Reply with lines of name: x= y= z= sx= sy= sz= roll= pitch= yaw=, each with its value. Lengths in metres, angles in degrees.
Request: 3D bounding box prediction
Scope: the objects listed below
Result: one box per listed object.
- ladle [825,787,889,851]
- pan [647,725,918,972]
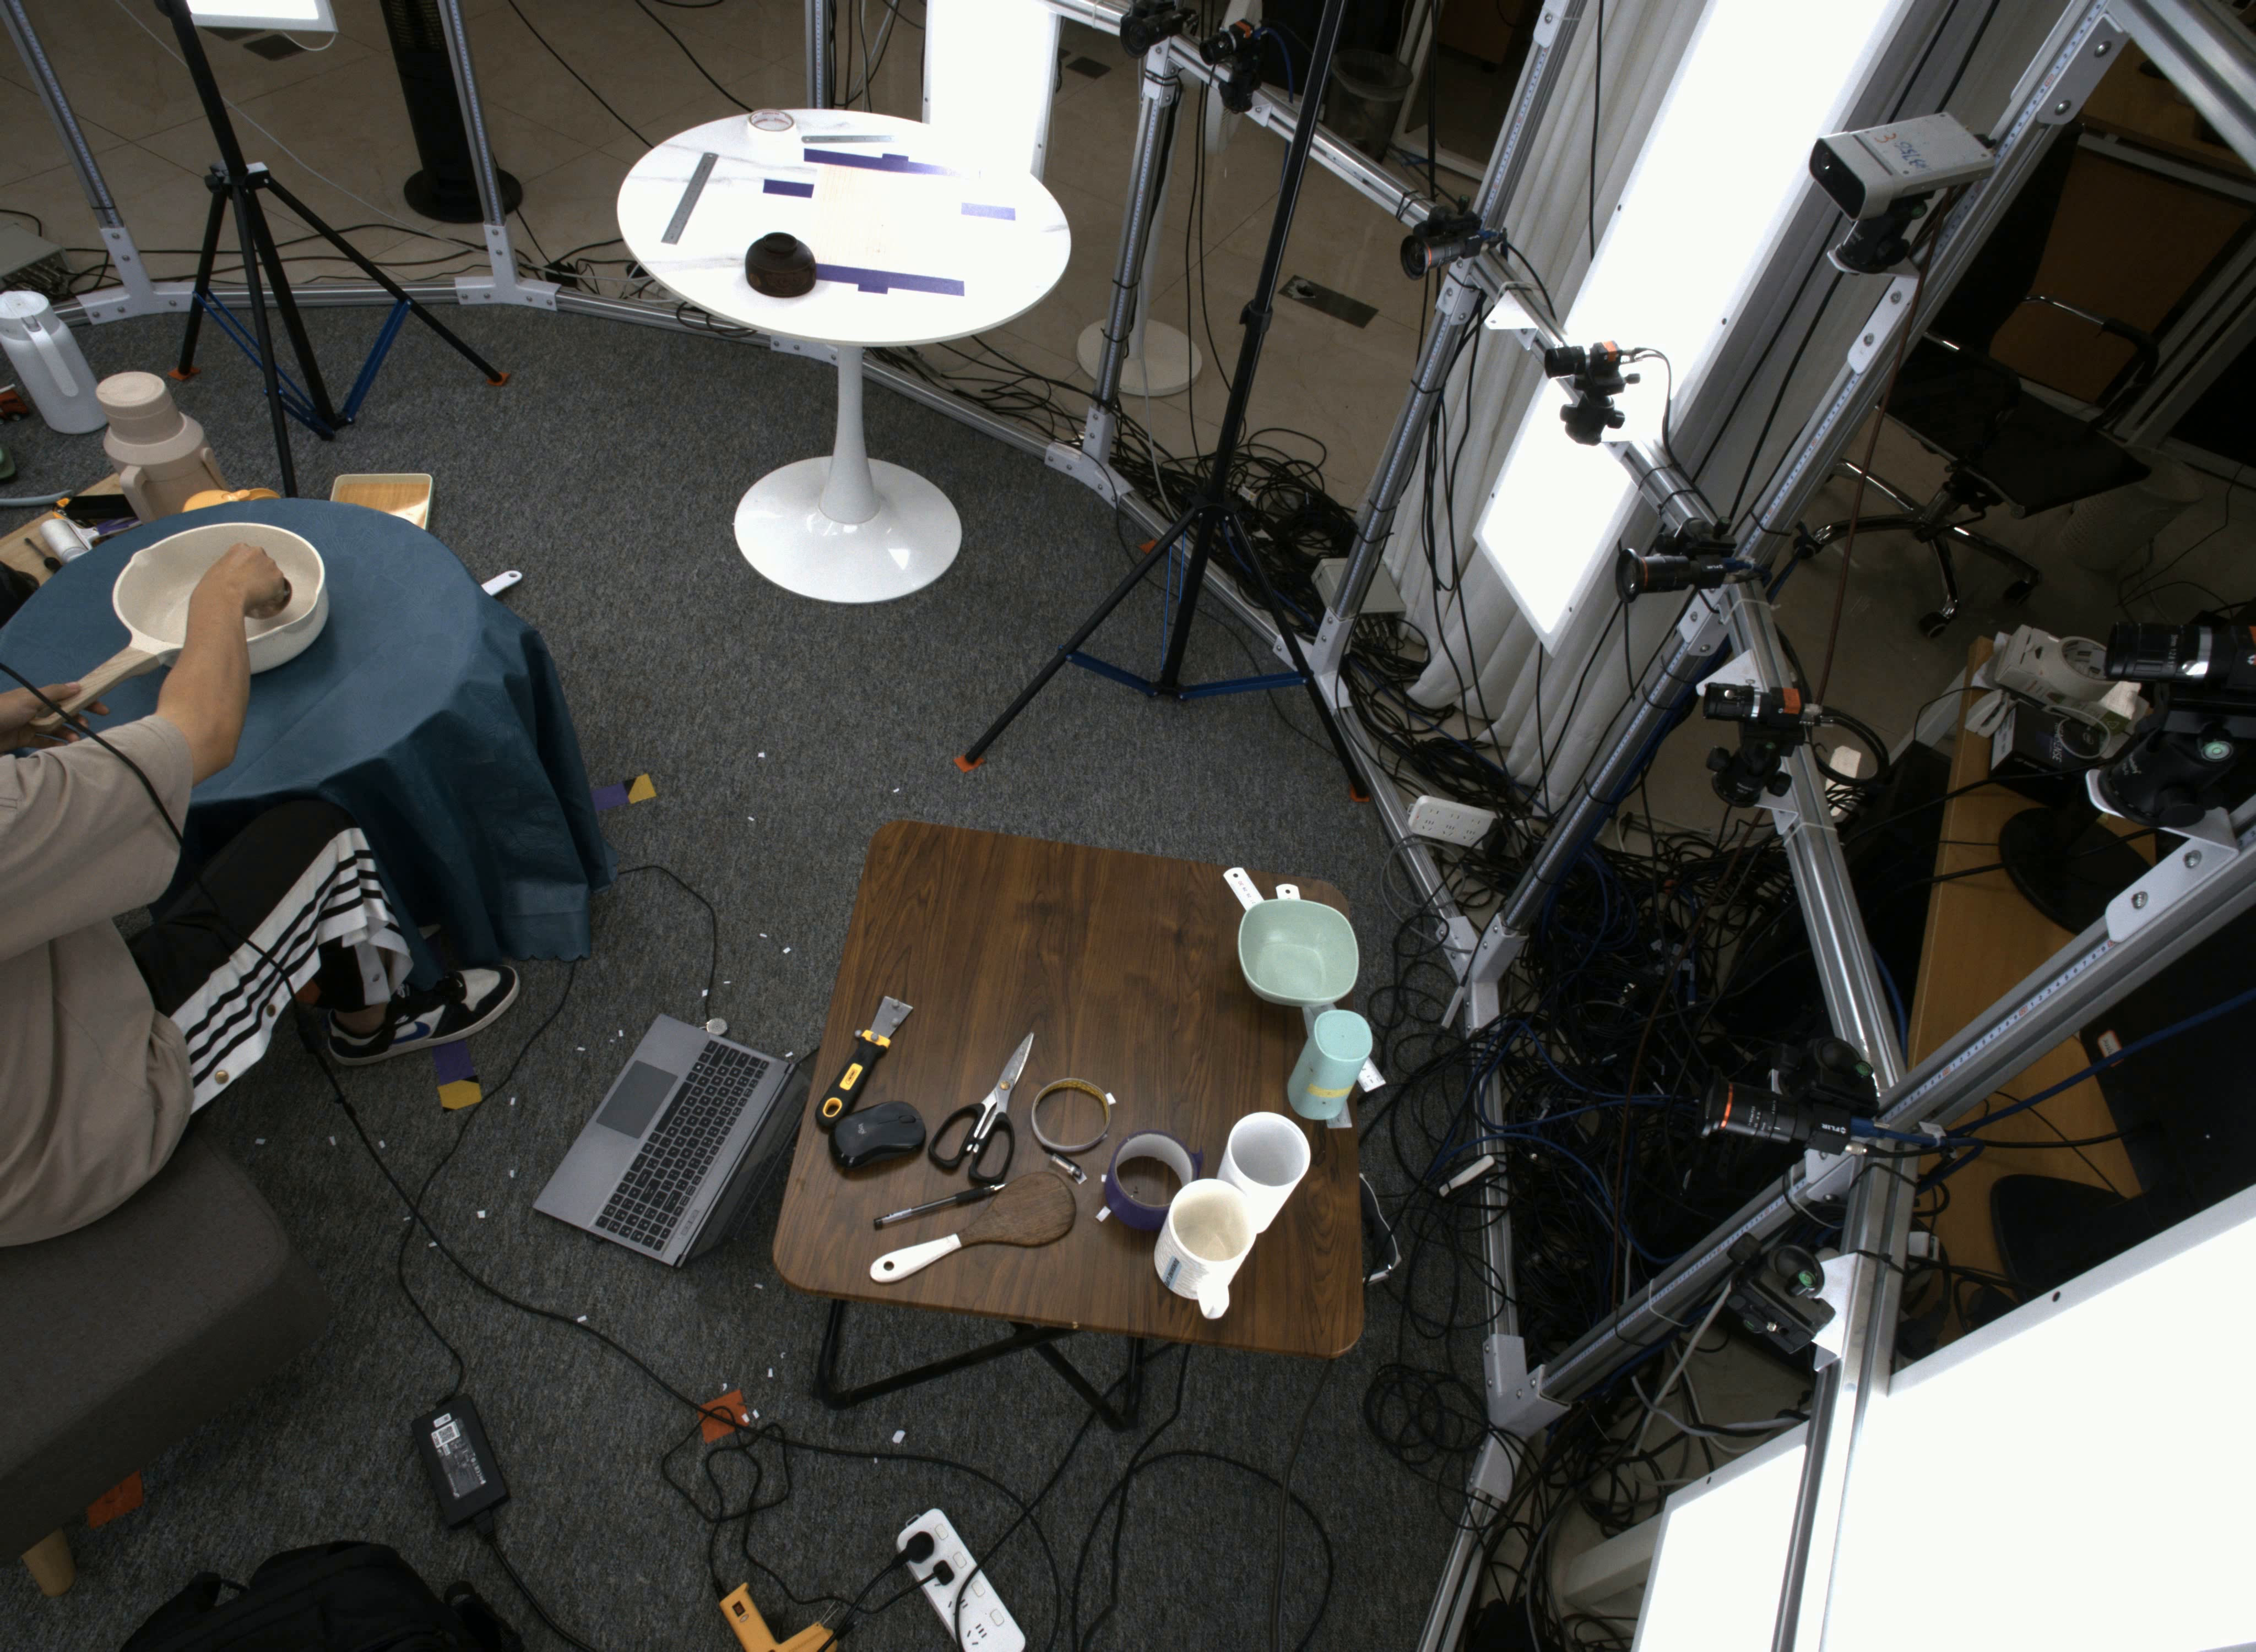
ladle: x=-0.324 y=-0.013 z=1.588 sx=0.082 sy=0.269 sz=0.078 roll=-16 pitch=94 yaw=-15
pan: x=-0.446 y=0.044 z=1.633 sx=0.259 sy=0.104 sz=0.433 roll=31 pitch=54 yaw=9
